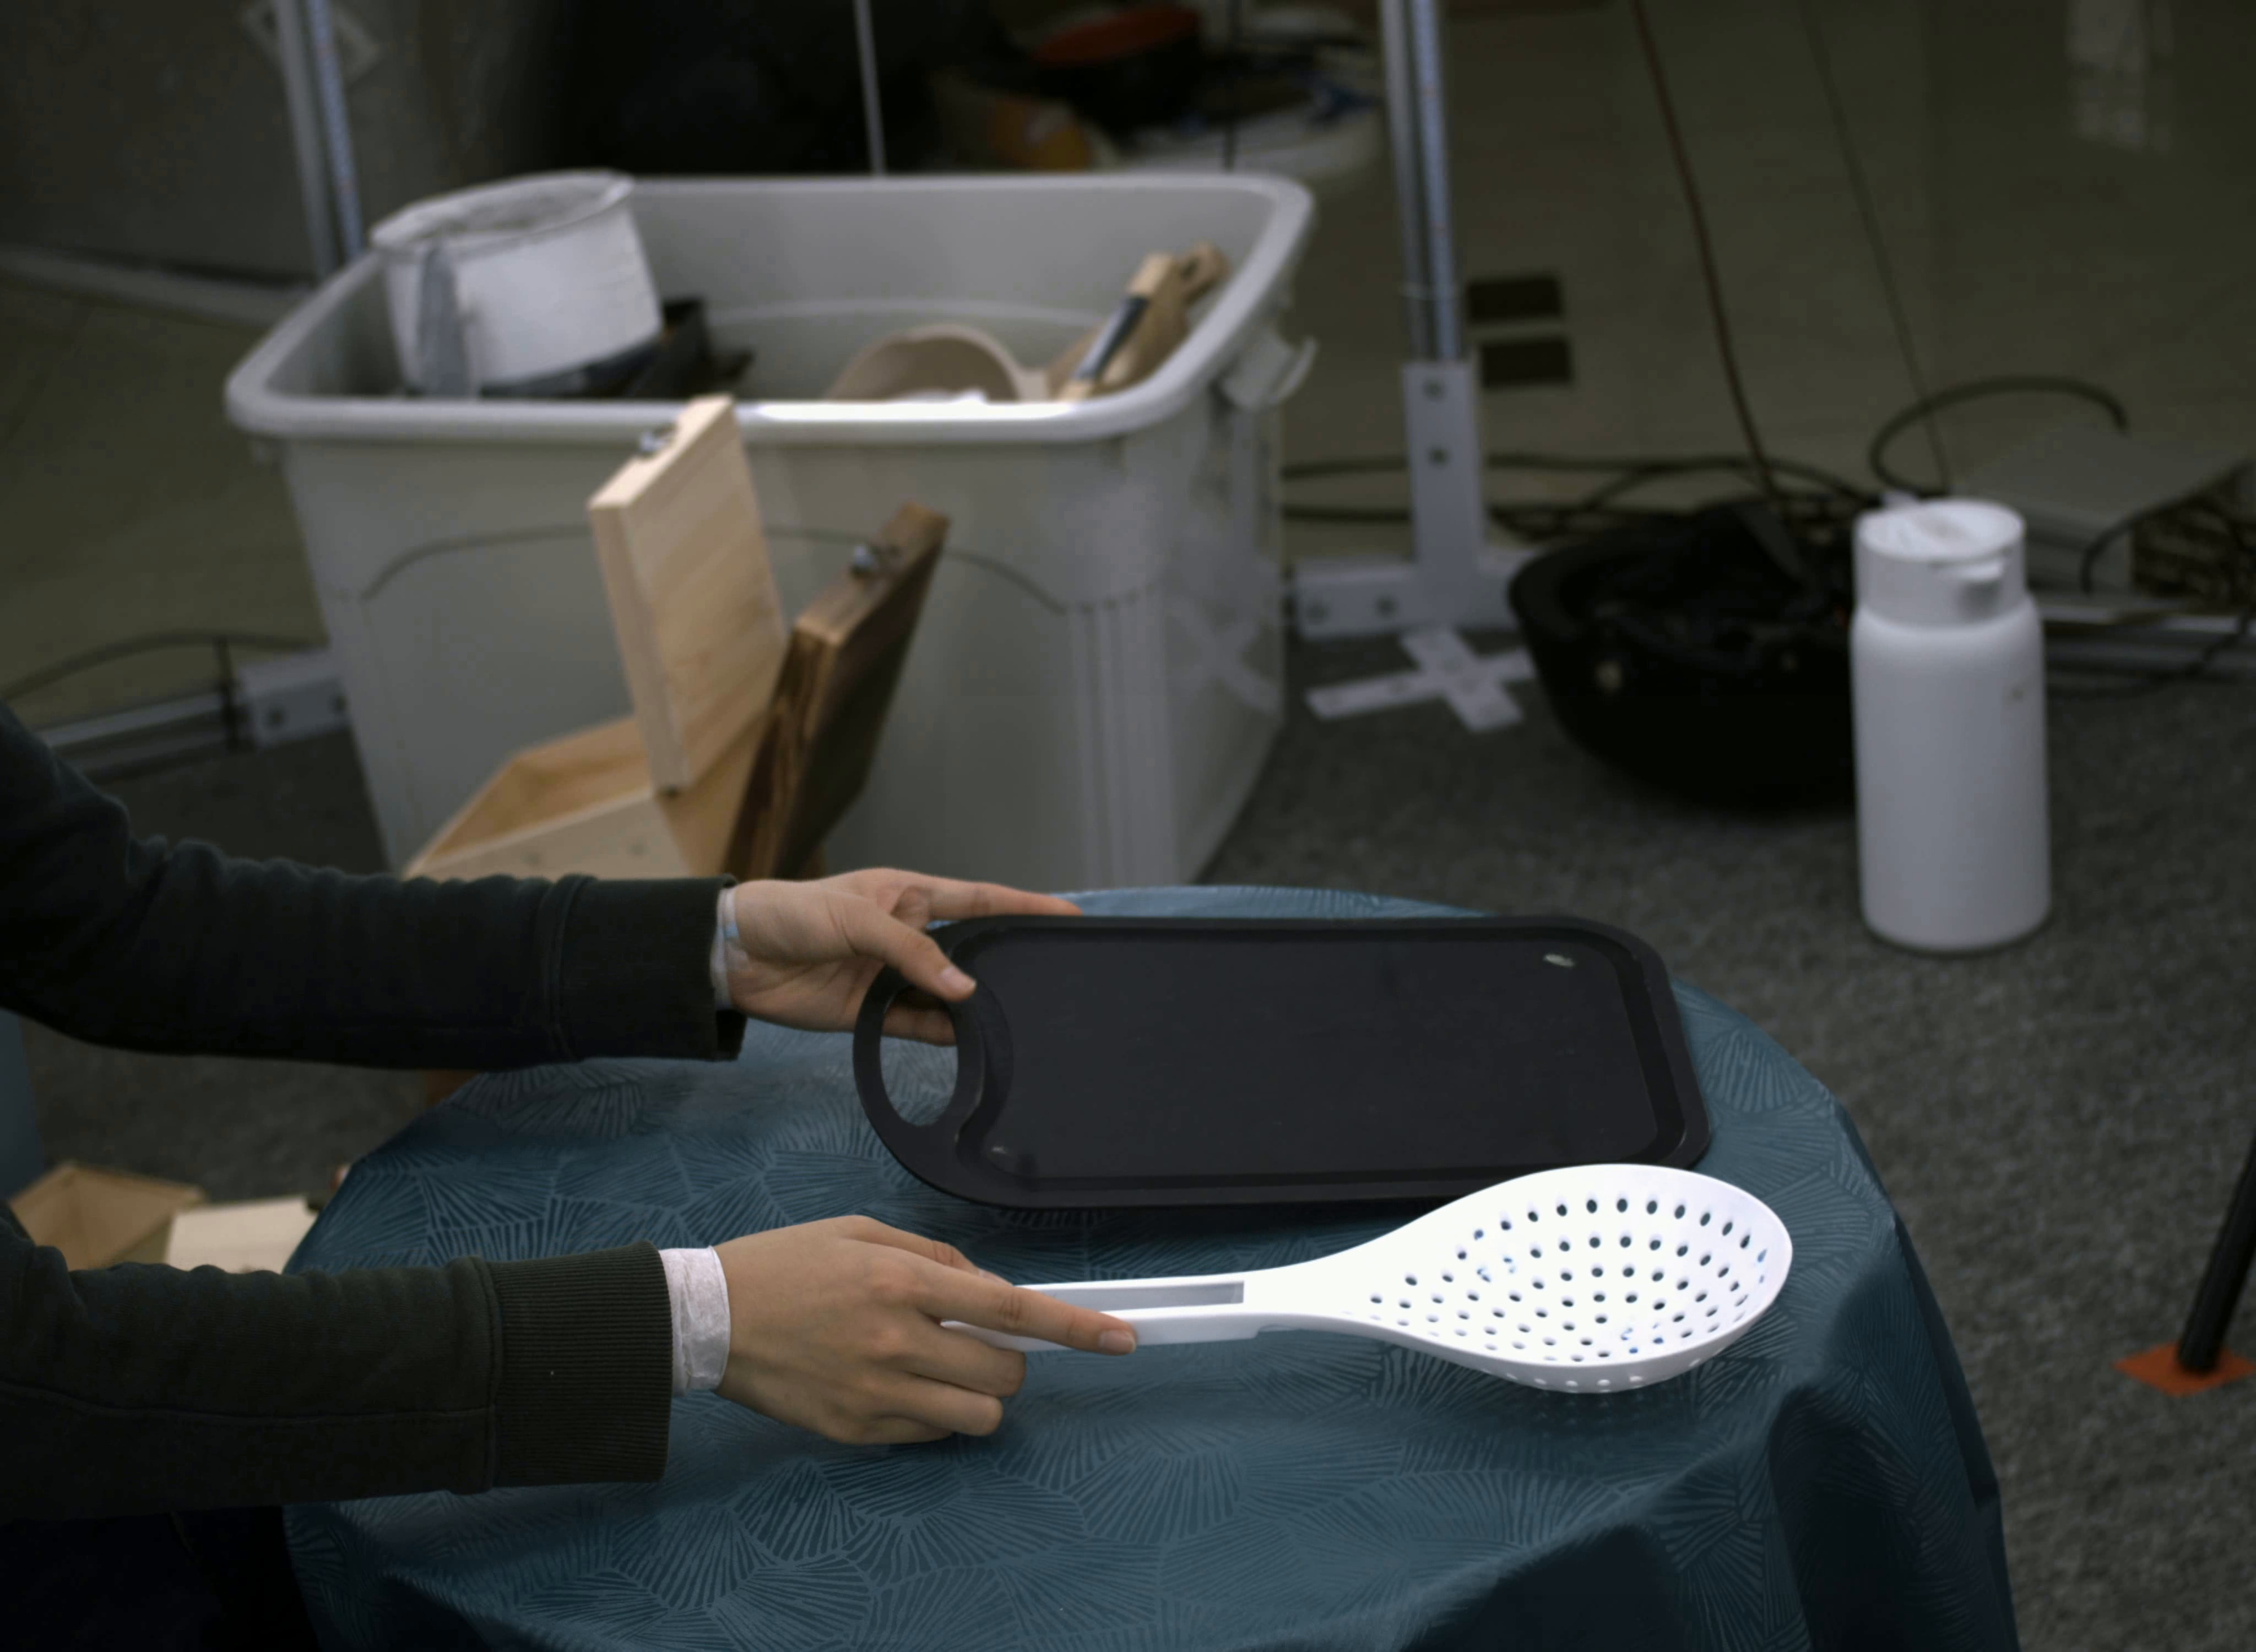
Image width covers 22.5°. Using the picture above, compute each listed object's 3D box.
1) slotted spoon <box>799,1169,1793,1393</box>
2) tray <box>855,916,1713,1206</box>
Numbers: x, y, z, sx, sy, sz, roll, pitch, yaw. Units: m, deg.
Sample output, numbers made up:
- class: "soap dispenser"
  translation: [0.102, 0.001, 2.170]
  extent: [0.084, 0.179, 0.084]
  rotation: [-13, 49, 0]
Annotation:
- class: "slotted spoon"
  translation: [0.057, 0.168, 1.999]
  extent: [0.349, 0.046, 0.134]
  rotation: [0, 26, 3]
- class: "tray"
  translation: [0.057, 0.087, 2.192]
  extent: [0.325, 0.010, 0.208]
  rotation: [-1, 29, -3]
